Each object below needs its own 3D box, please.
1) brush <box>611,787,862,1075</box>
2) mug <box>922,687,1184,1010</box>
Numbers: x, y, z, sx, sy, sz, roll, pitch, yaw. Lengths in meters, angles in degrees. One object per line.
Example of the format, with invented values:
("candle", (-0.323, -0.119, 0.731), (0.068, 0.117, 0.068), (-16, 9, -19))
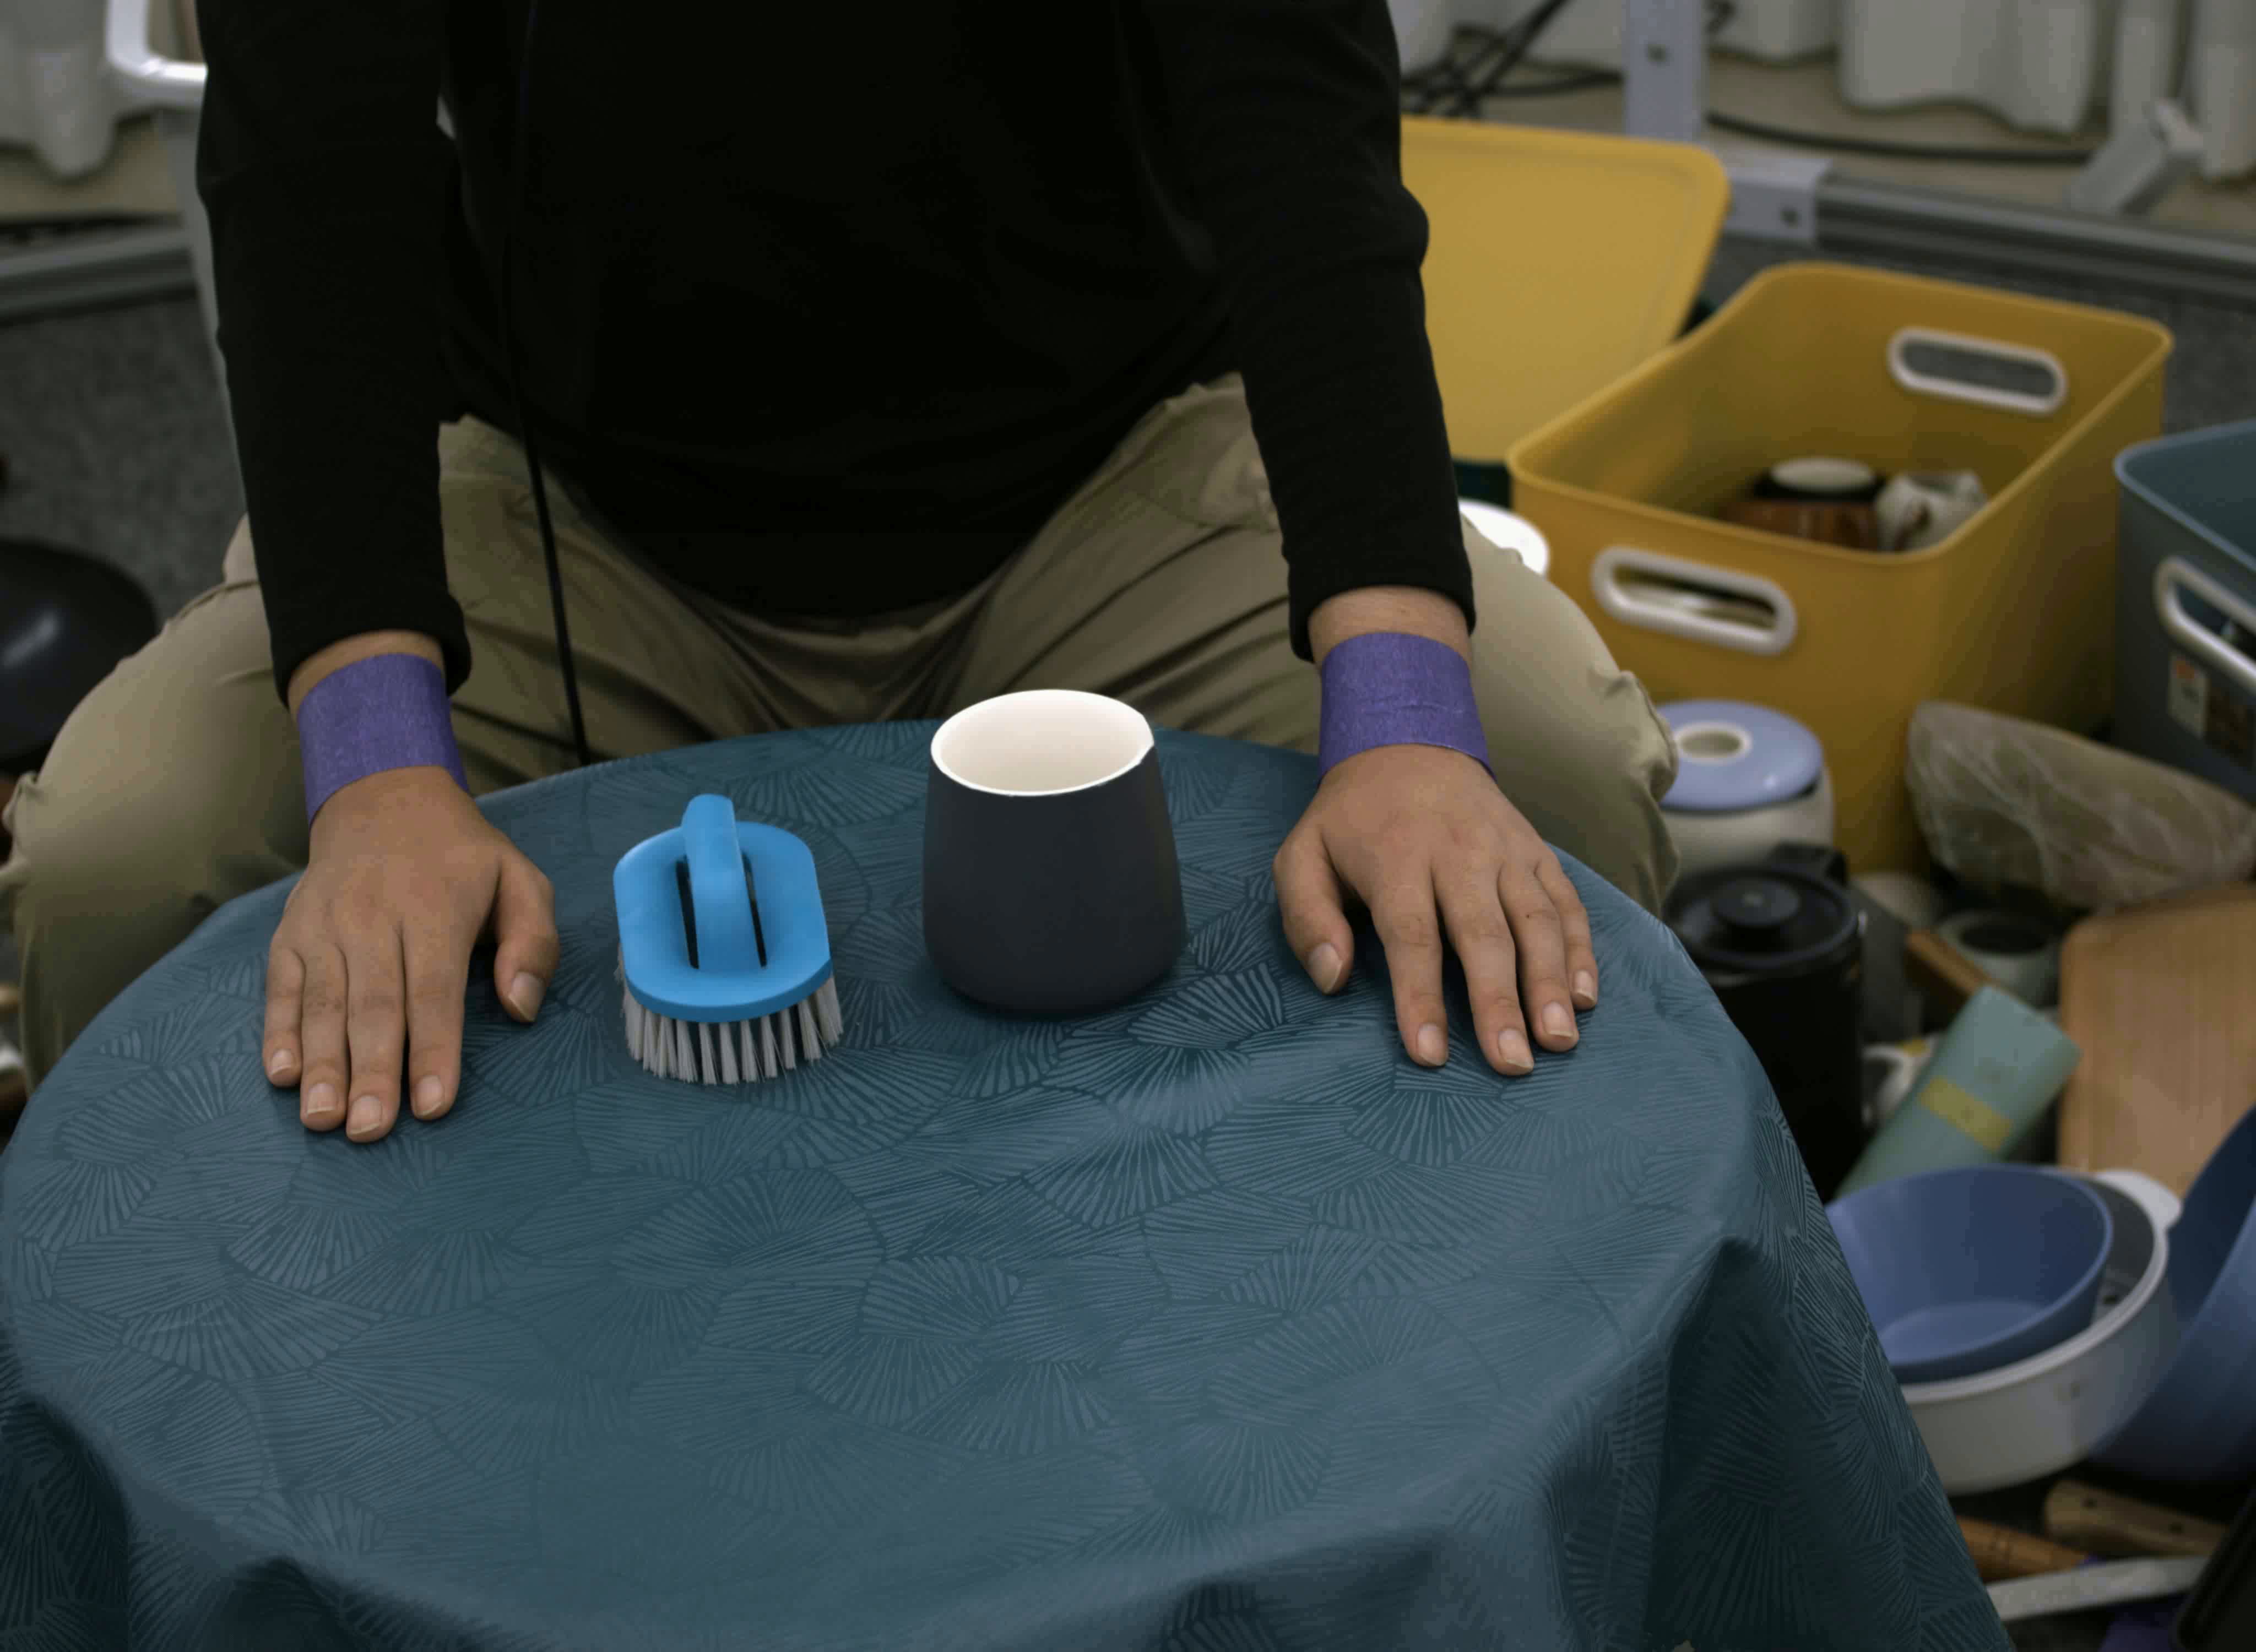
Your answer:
("brush", (-0.142, 0.029, 1.985), (0.084, 0.063, 0.143), (-10, 27, -3))
("mug", (-0.028, 0.001, 1.996), (0.093, 0.089, 0.125), (-3, 29, 0))
